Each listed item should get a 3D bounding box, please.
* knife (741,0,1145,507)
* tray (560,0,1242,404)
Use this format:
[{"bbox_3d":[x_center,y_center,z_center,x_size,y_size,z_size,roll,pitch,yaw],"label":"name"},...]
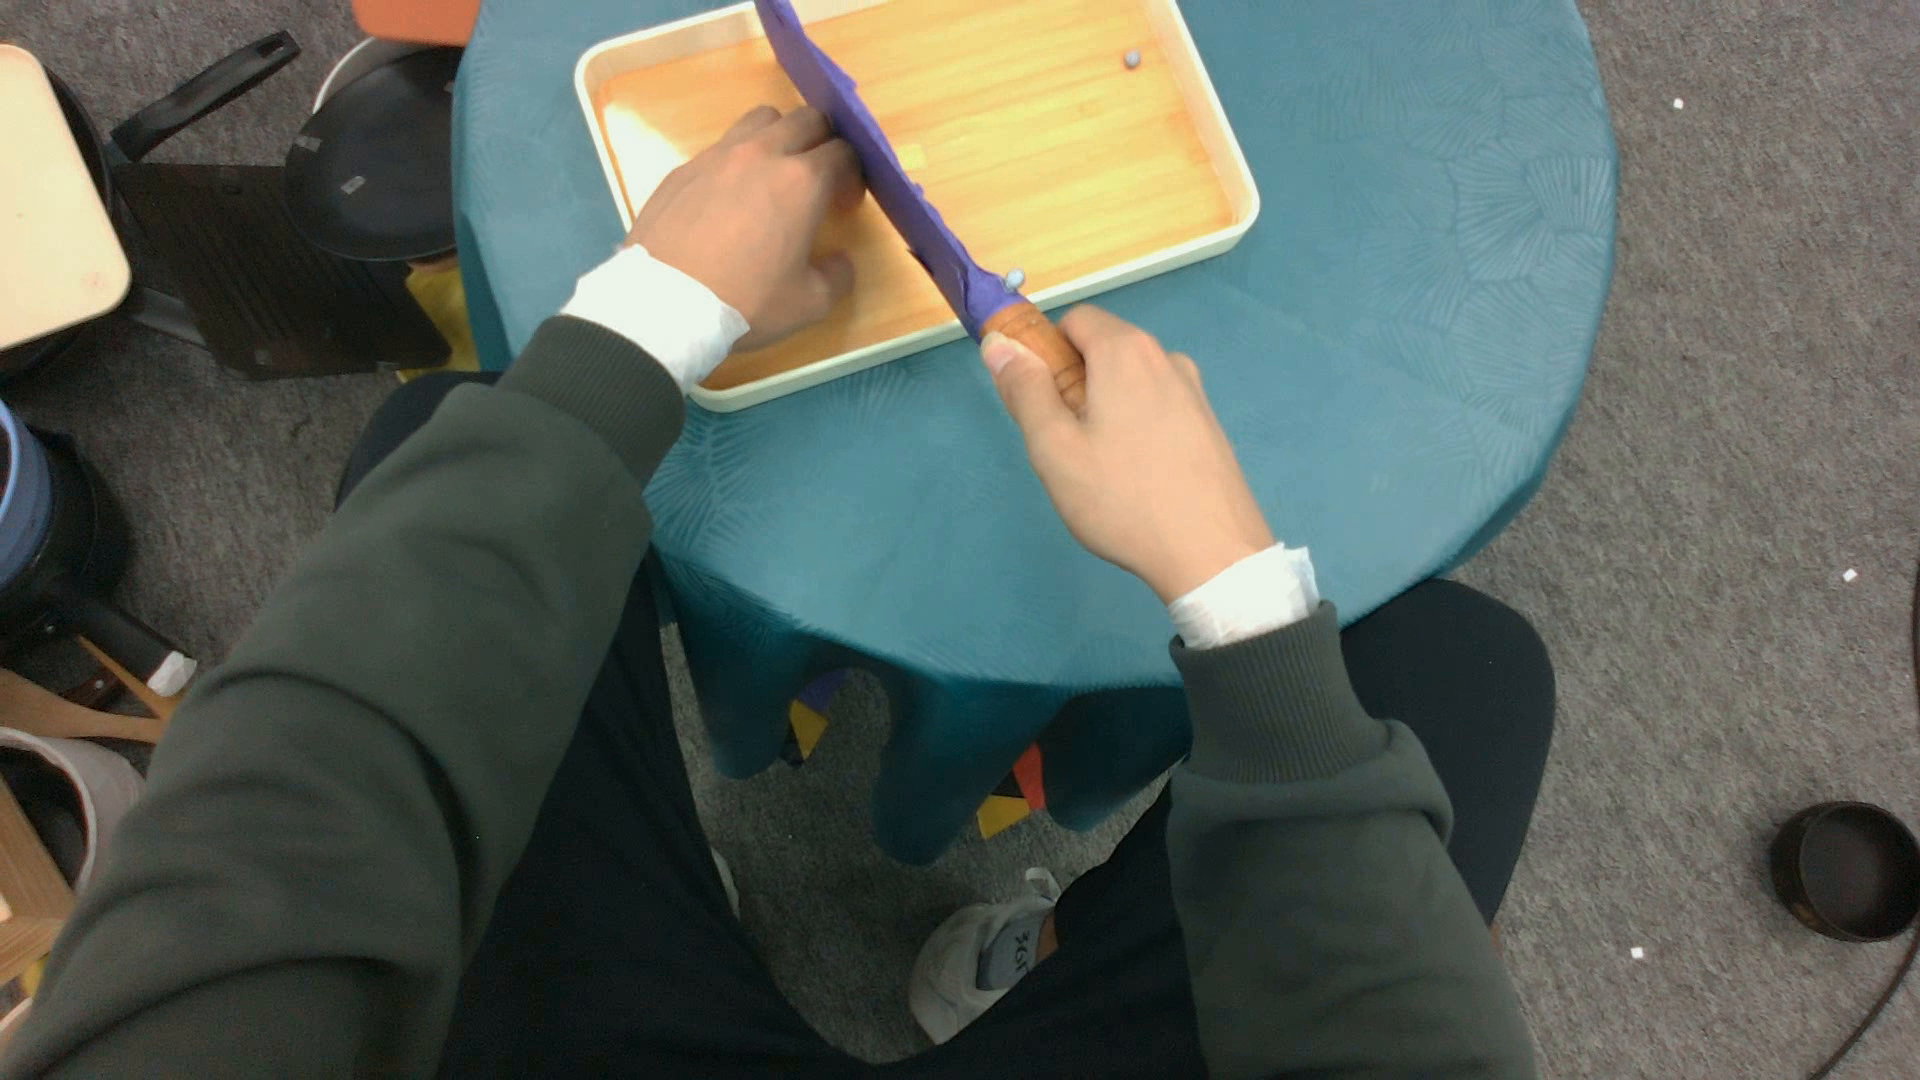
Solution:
[{"bbox_3d":[-0.017,-0.139,0.609,0.032,0.103,0.315,-32,74,-2],"label":"knife"},{"bbox_3d":[-0.027,-0.197,0.687,0.301,0.027,0.192,-20,79,-10],"label":"tray"}]
